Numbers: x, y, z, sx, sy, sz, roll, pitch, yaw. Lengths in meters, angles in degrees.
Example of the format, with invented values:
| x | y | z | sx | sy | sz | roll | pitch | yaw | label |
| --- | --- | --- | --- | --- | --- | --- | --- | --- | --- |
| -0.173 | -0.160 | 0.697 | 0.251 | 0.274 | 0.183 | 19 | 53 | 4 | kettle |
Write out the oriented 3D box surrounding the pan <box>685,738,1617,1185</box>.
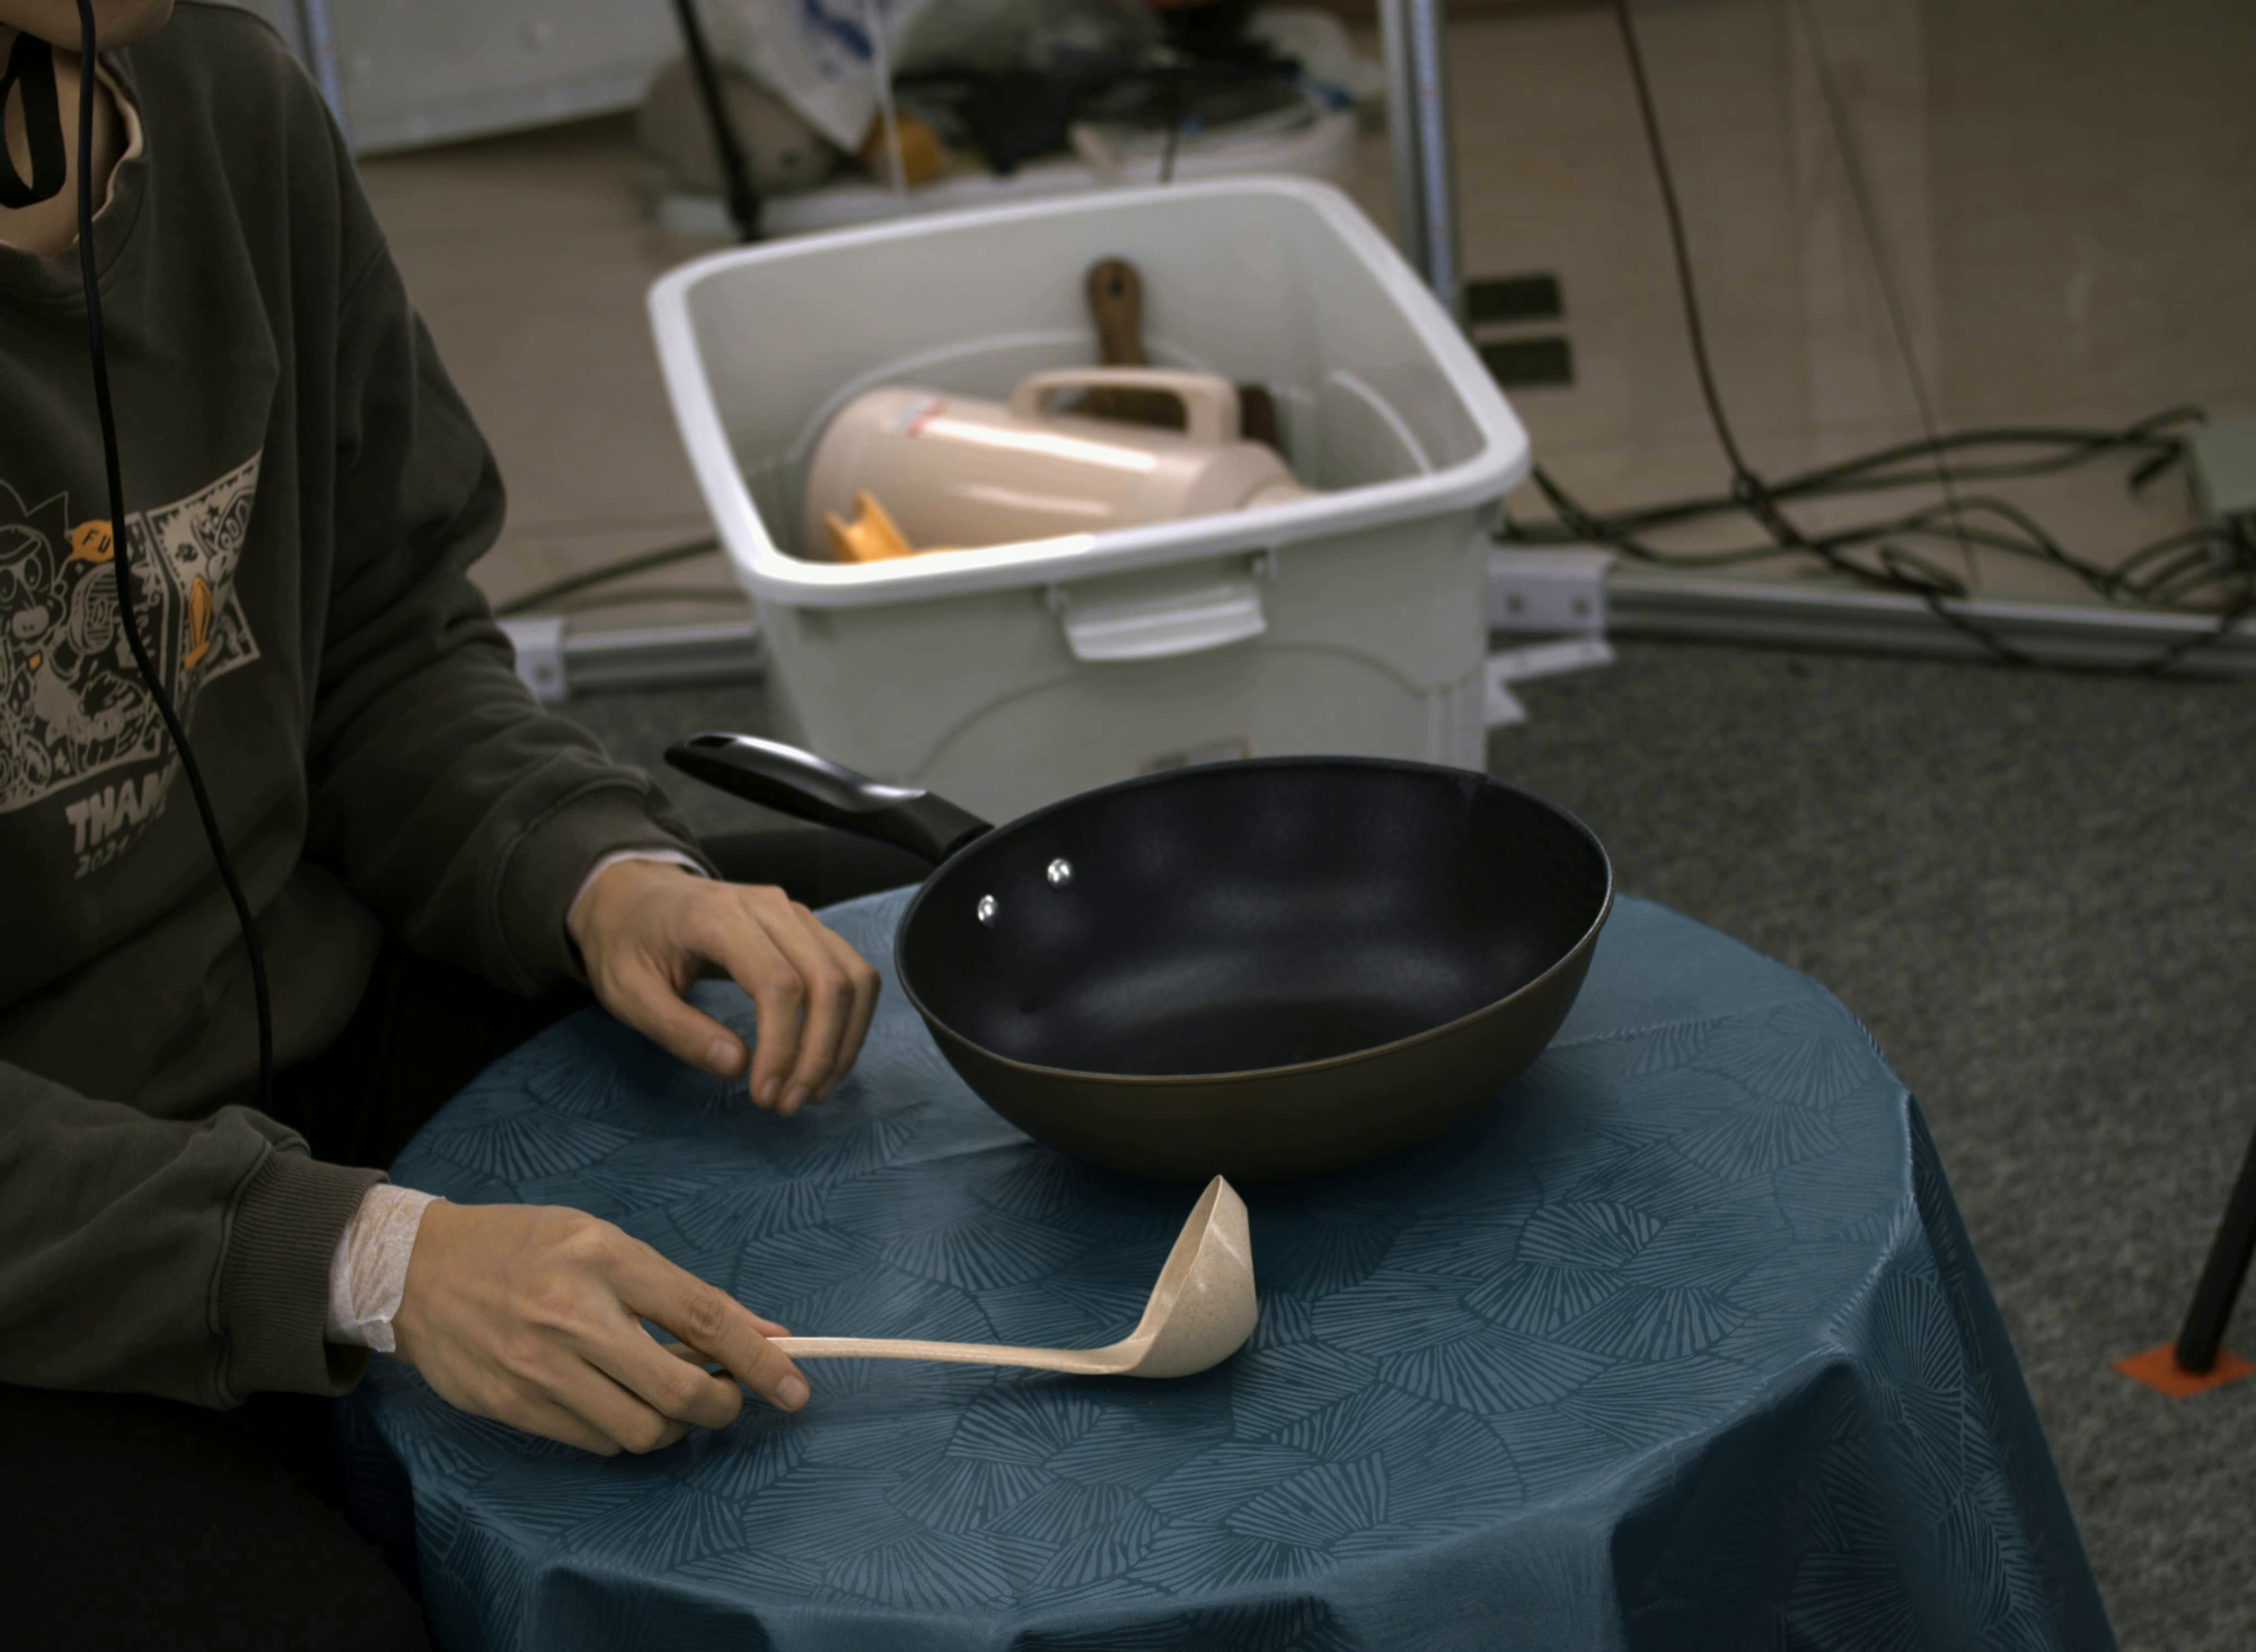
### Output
| x | y | z | sx | sy | sz | roll | pitch | yaw | label |
| --- | --- | --- | --- | --- | --- | --- | --- | --- | --- |
| -0.015 | 0.047 | 2.248 | 0.460 | 0.088 | 0.285 | 15 | 33 | 41 | pan |

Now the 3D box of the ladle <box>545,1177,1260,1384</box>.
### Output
| x | y | z | sx | sy | sz | roll | pitch | yaw | label |
| --- | --- | --- | --- | --- | --- | --- | --- | --- | --- |
| -0.080 | 0.161 | 2.009 | 0.254 | 0.073 | 0.071 | 0 | 16 | -2 | ladle |
